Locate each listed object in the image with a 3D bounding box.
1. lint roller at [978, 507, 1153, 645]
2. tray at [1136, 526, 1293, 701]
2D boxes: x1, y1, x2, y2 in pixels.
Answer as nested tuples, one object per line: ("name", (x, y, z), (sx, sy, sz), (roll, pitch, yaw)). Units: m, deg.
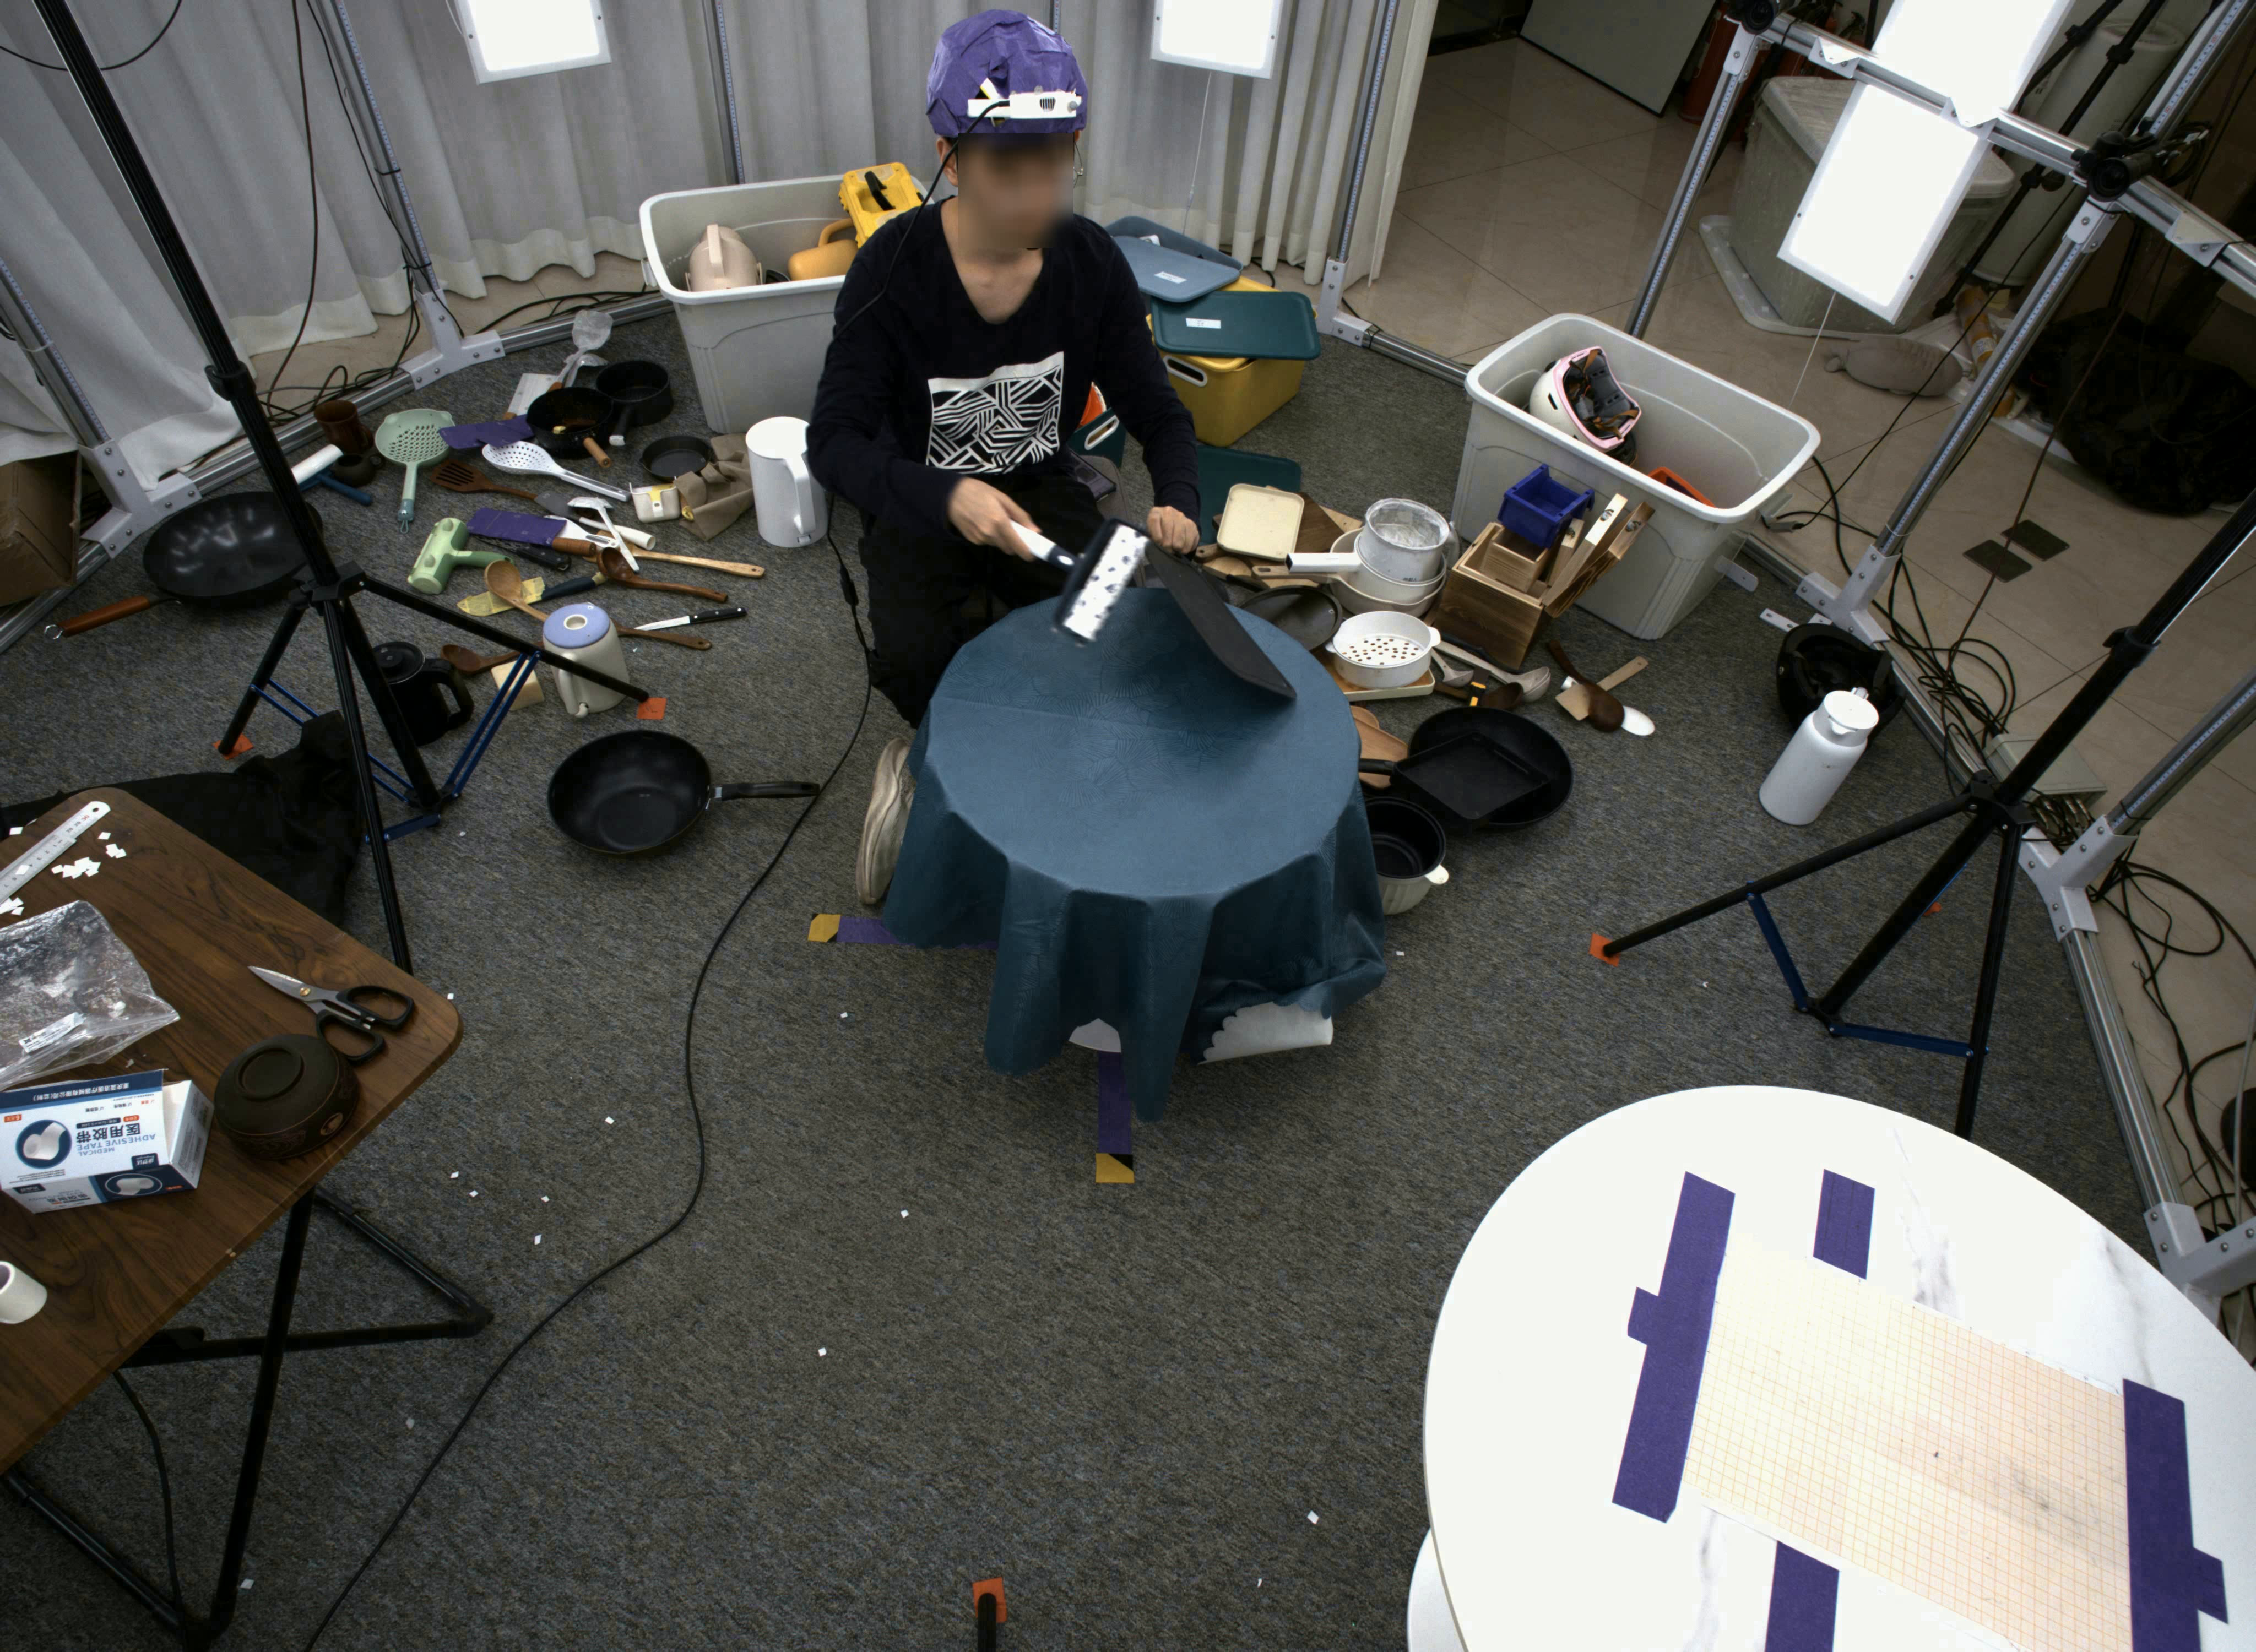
("lint roller", (-0.107, -0.382, 1.797), (0.249, 0.050, 0.176), (29, 95, 13))
("tray", (0.116, -0.311, 1.836), (0.209, 0.010, 0.332), (14, 39, -52))
